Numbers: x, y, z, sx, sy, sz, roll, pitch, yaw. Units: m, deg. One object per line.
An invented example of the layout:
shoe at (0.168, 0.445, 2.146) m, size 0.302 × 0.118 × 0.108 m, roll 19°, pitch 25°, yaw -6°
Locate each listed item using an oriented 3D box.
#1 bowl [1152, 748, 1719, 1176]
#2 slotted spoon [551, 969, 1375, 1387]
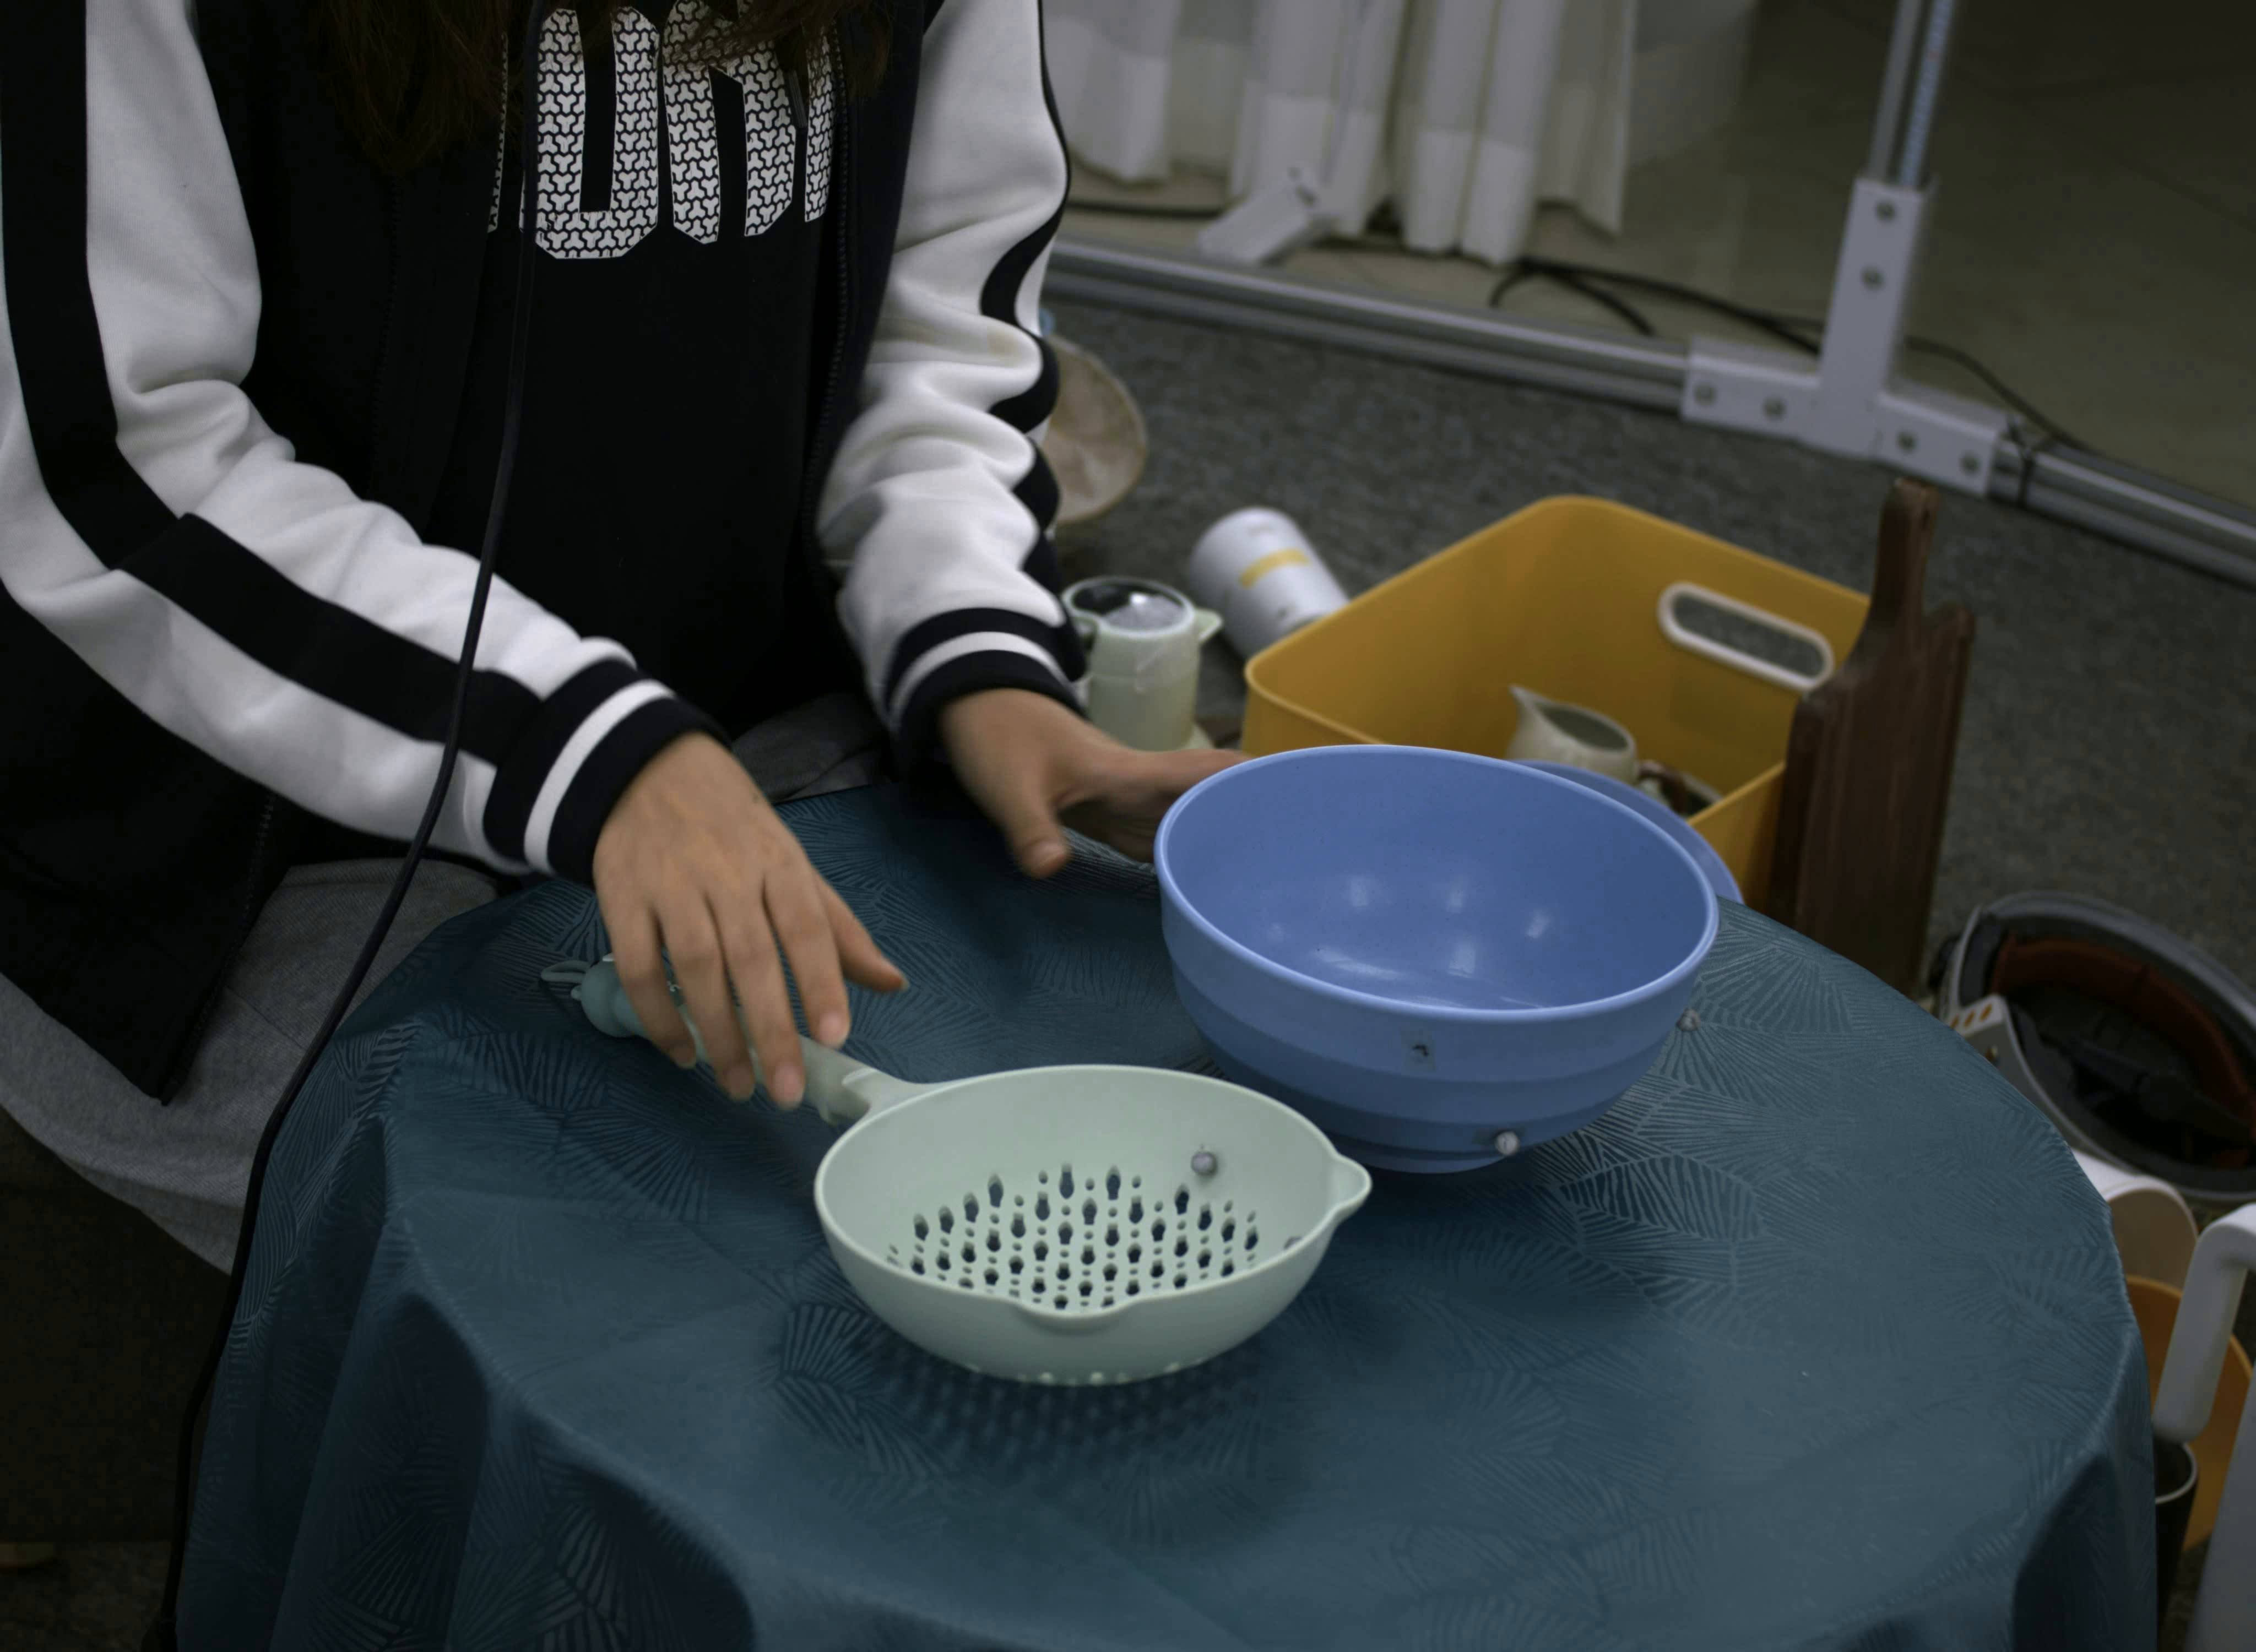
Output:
bowl at (0.101, 0.058, 1.850) m, size 0.196 × 0.095 × 0.198 m, roll 5°, pitch 27°, yaw -3°
slotted spoon at (-0.080, 0.100, 1.767) m, size 0.168 × 0.075 × 0.362 m, roll -18°, pitch 34°, yaw -39°
